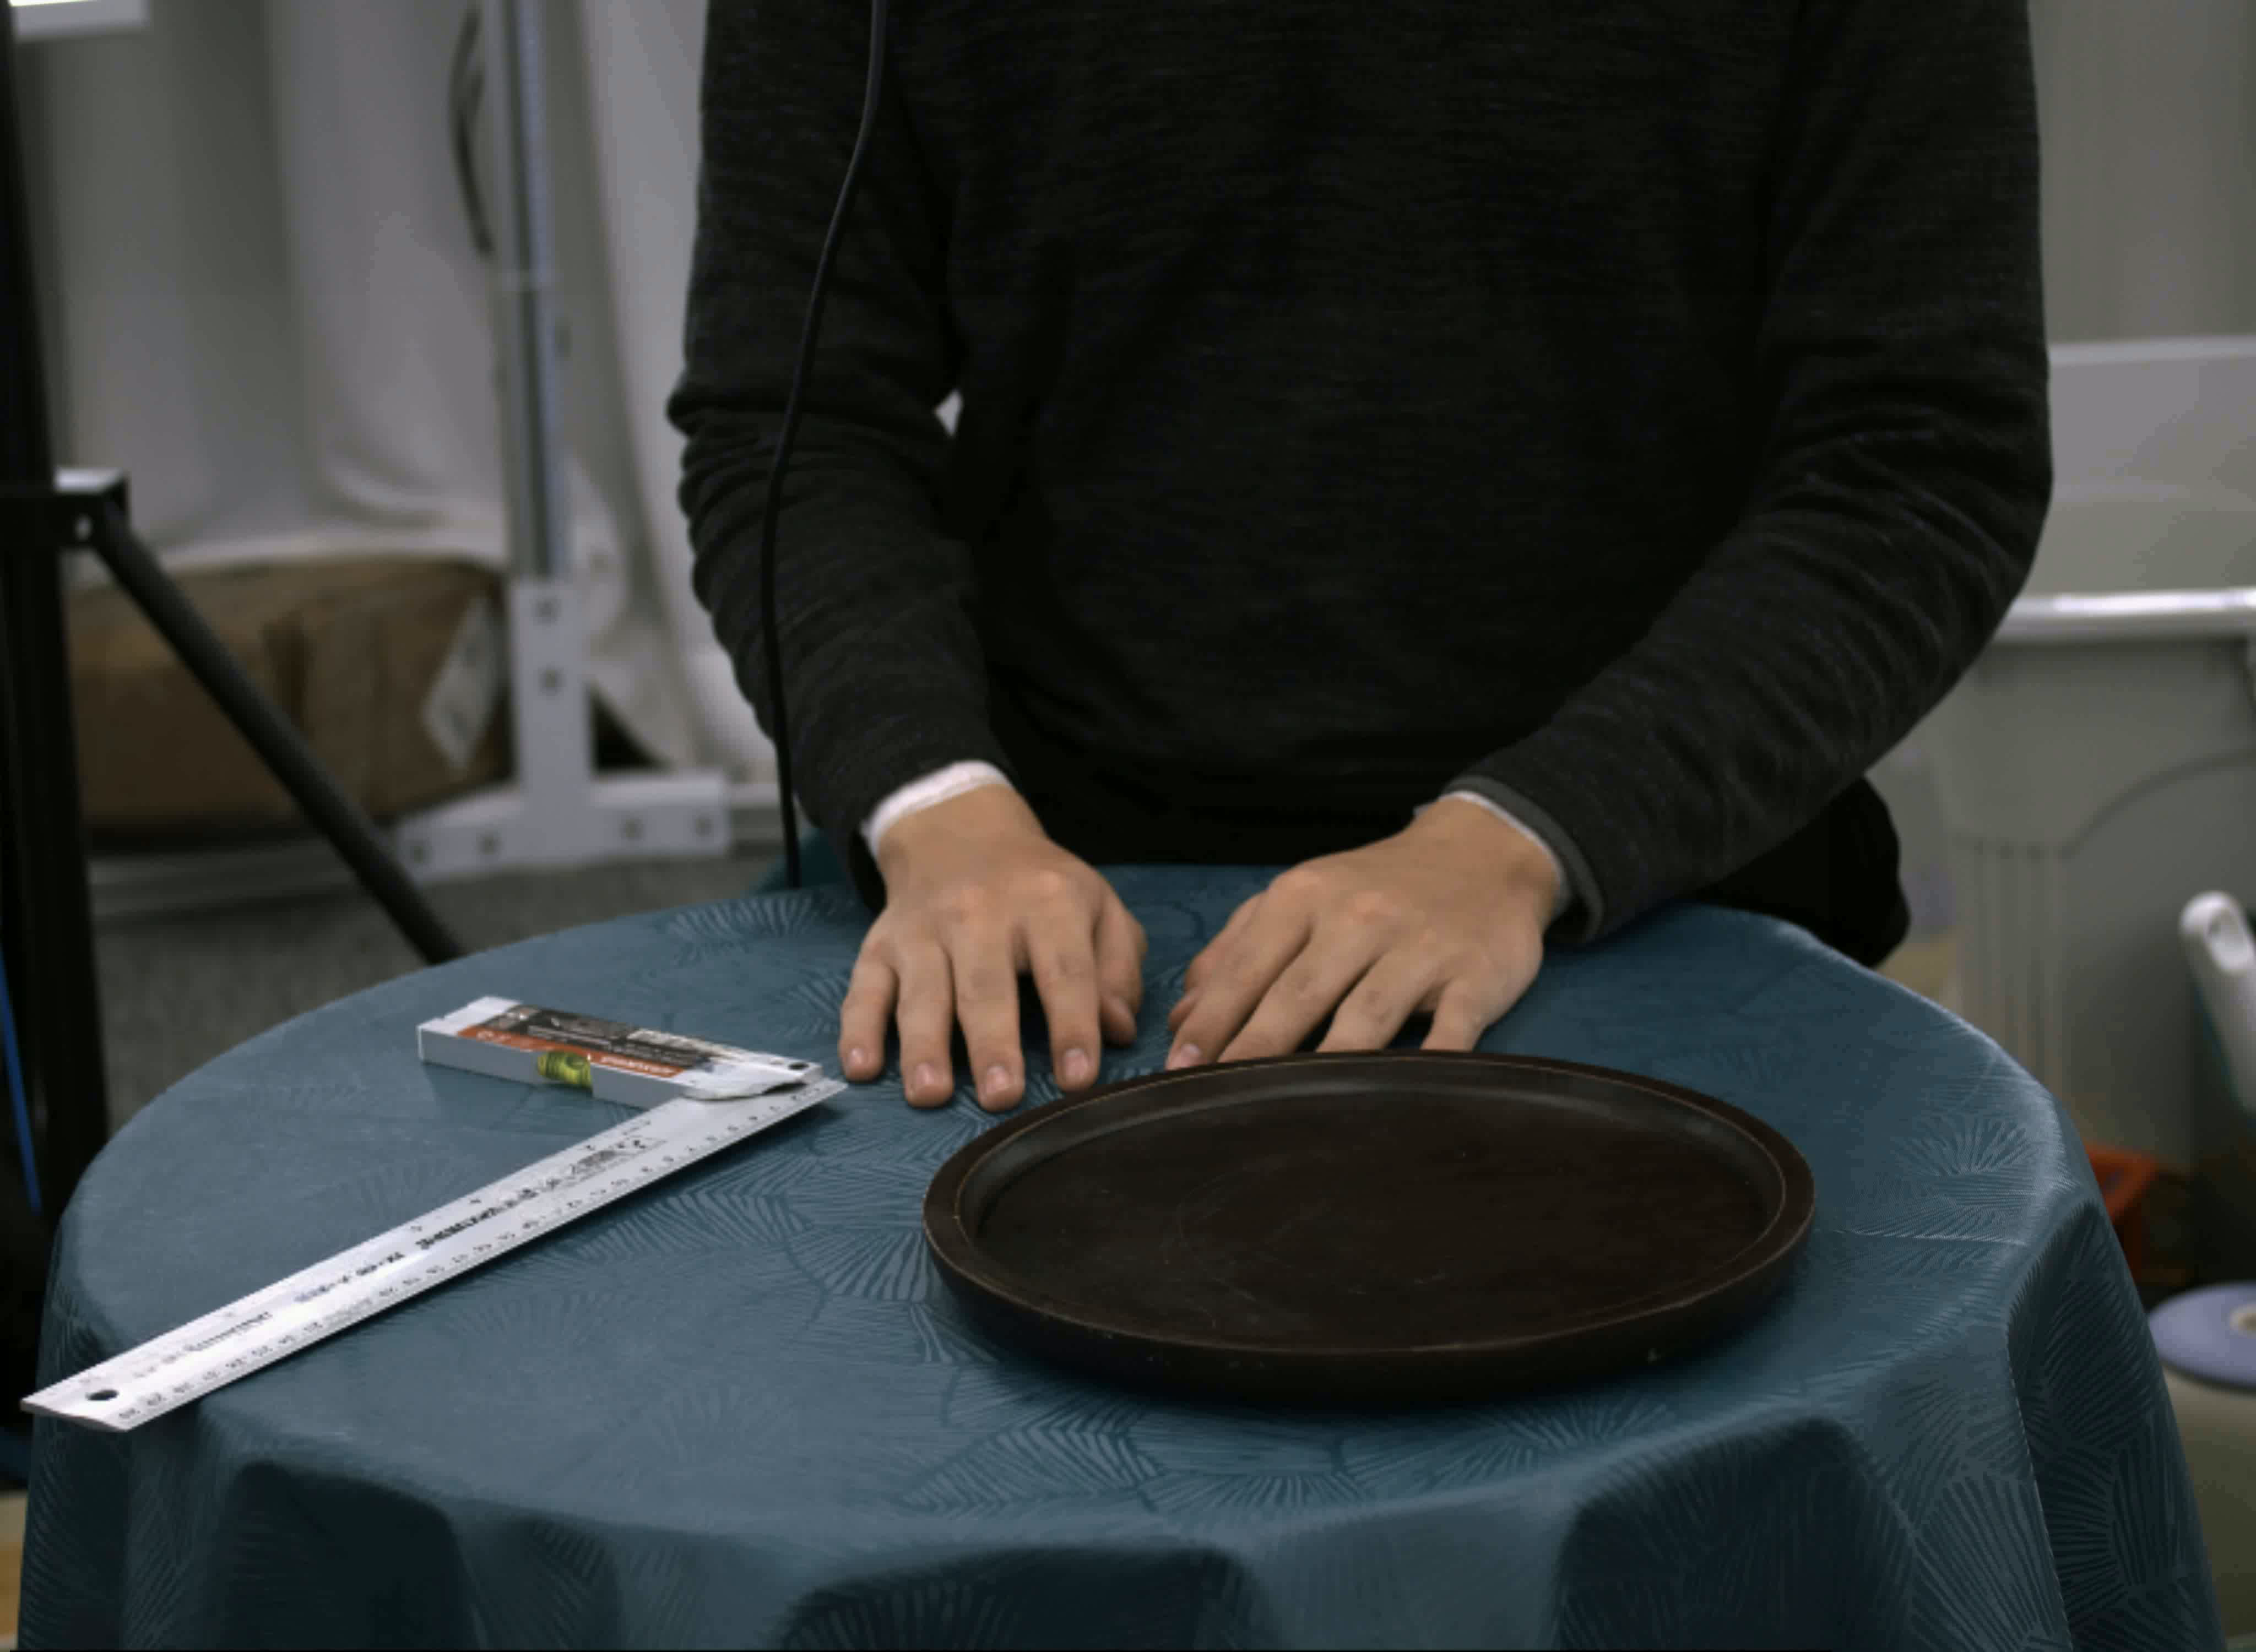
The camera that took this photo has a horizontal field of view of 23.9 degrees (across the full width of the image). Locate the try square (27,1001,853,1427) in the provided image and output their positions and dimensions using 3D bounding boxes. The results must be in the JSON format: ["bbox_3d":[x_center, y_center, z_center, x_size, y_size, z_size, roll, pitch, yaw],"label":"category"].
[{"bbox_3d":[-0.233,0.110,1.575,0.155,0.016,0.306,8,20,36],"label":"try square"}]

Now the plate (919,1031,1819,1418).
[{"bbox_3d":[0.067,0.112,1.488,0.253,0.029,0.256,-4,16,0],"label":"plate"}]
